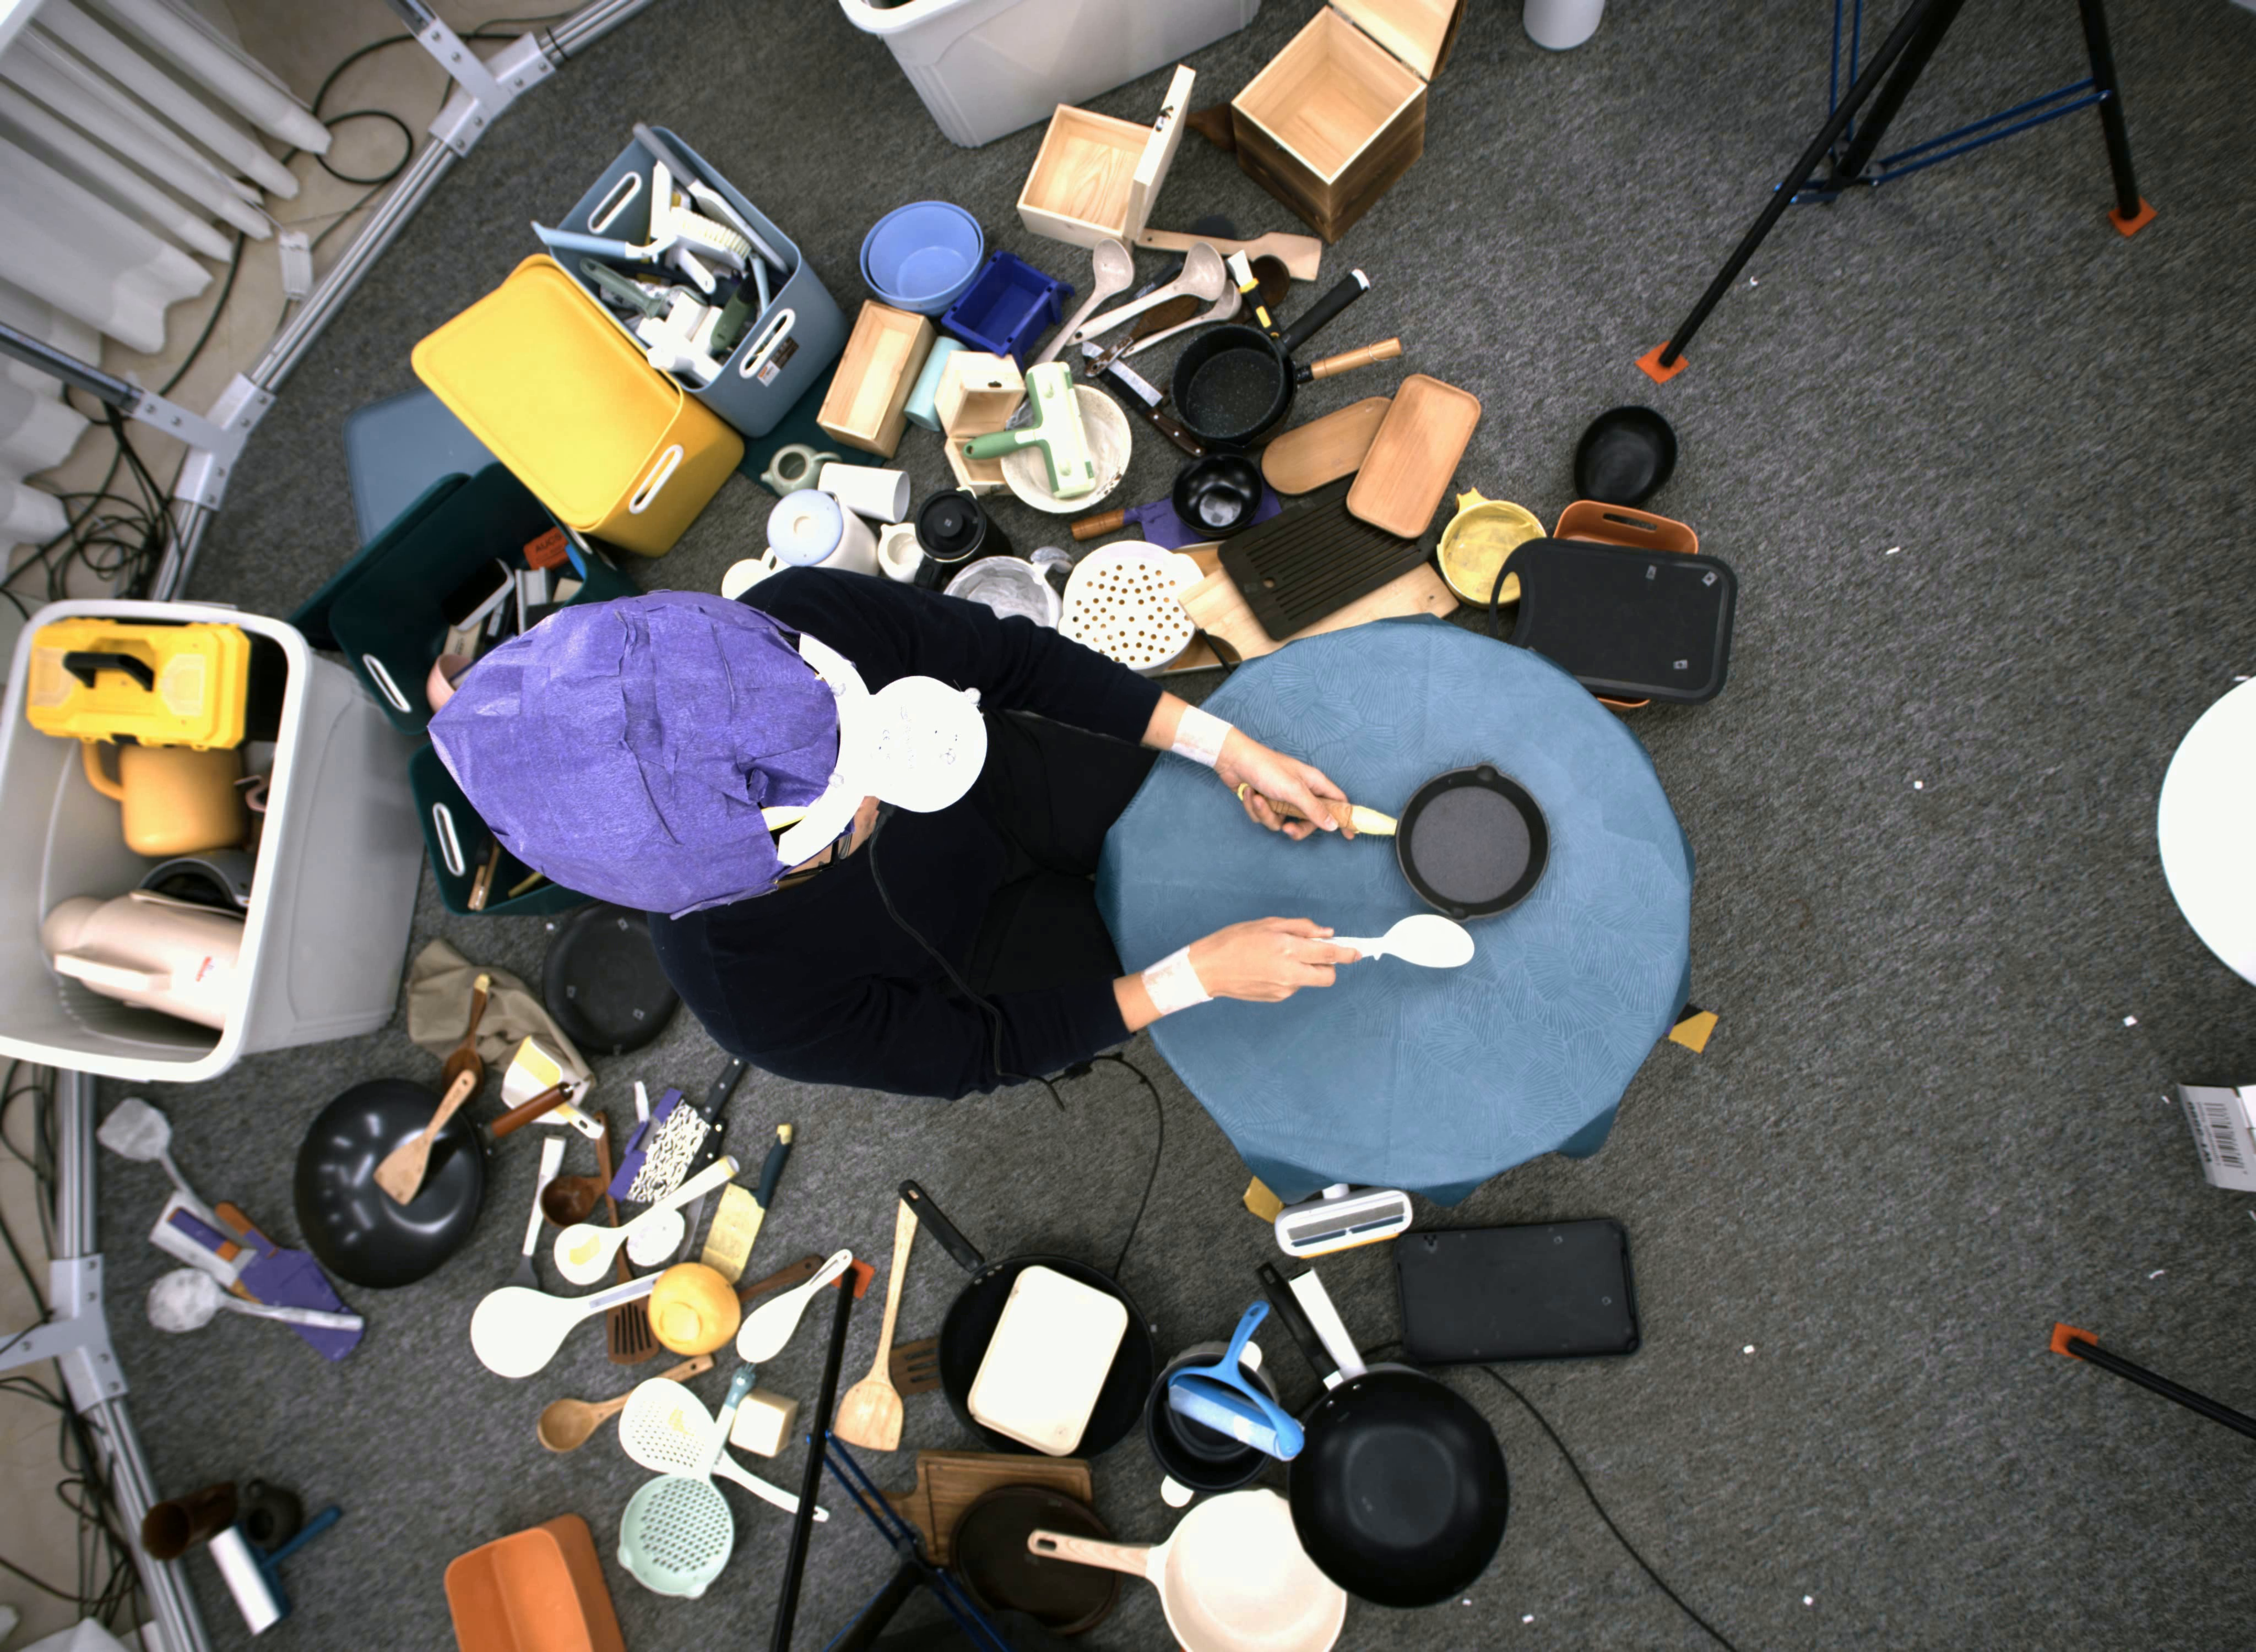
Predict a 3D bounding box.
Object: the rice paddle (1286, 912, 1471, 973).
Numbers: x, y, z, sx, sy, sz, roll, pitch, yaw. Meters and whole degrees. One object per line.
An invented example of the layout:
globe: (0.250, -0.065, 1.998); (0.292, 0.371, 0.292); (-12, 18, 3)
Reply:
rice paddle: (0.254, 0.115, 1.372); (0.204, 0.030, 0.067); (-6, 48, -20)

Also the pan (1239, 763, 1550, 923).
pan: (0.275, -0.004, 1.435); (0.324, 0.049, 0.168); (14, 89, 9)
